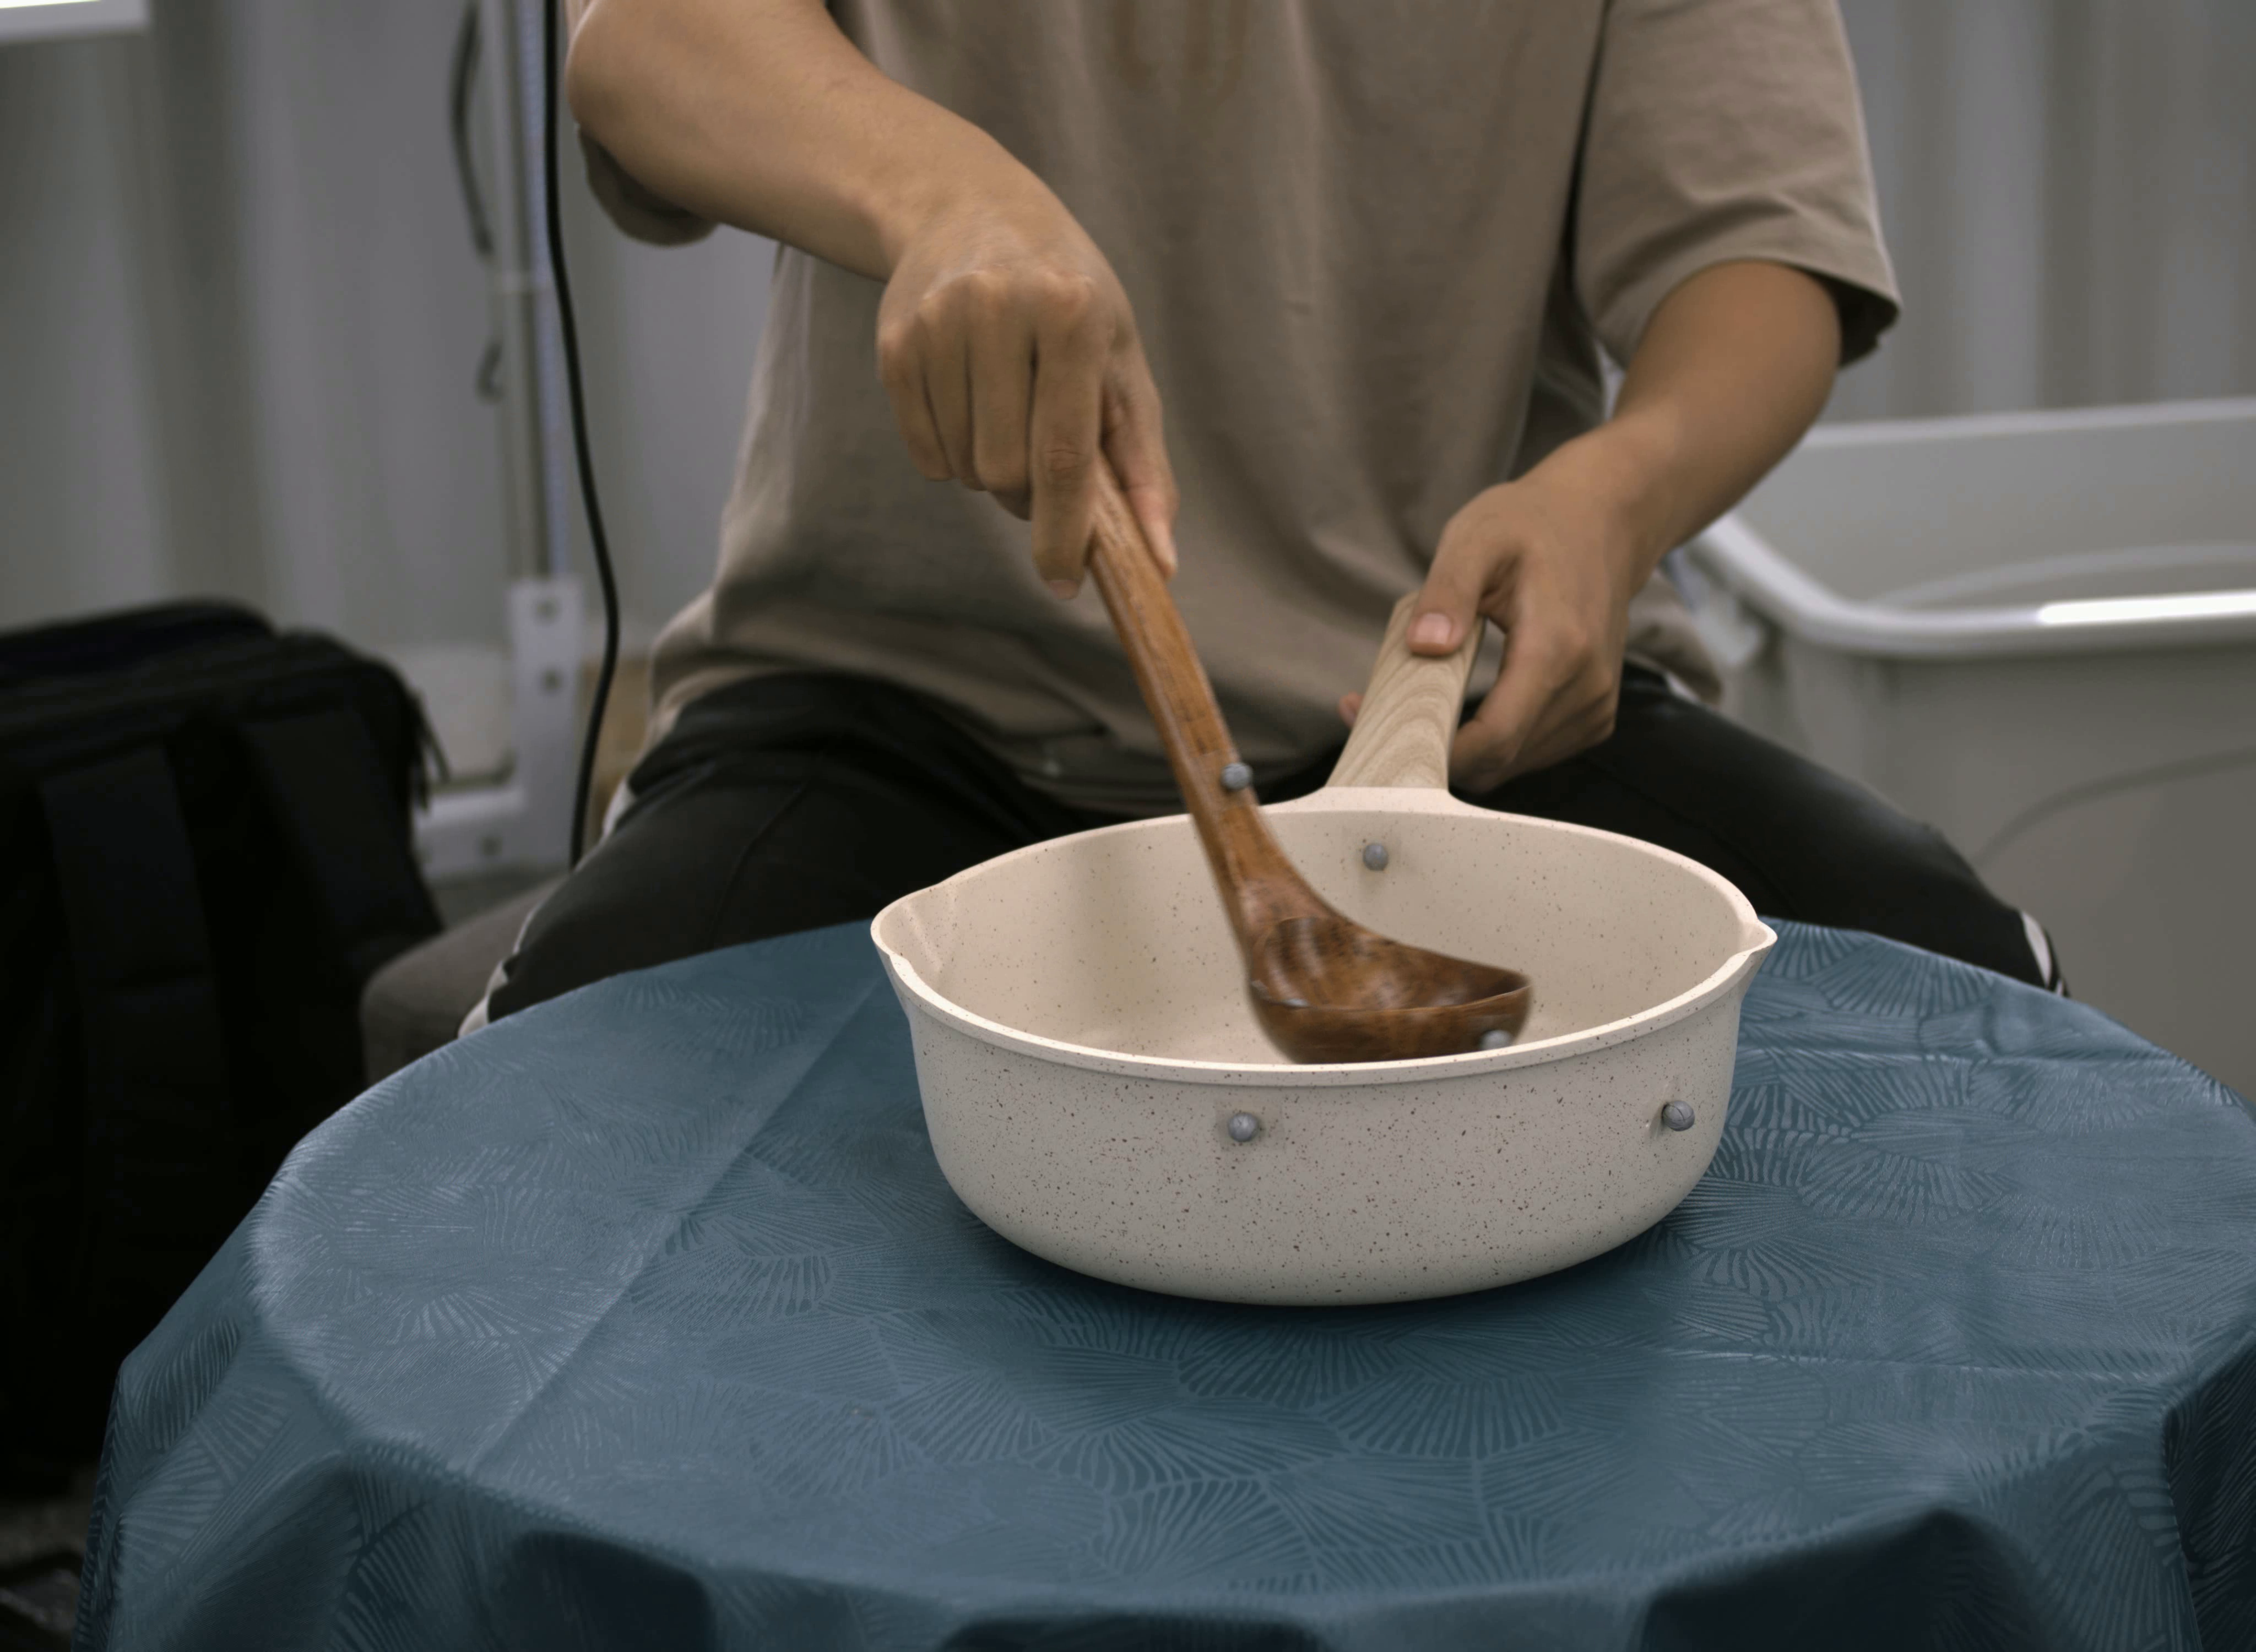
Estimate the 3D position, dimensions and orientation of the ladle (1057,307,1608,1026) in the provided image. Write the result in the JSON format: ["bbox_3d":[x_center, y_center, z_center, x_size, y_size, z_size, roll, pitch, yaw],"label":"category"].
[{"bbox_3d":[0.054,-0.047,1.526,0.080,0.278,0.077,-4,-26,-44],"label":"ladle"}]

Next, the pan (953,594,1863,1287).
[{"bbox_3d":[0.095,0.030,1.620,0.264,0.102,0.433,-1,16,11],"label":"pan"}]
